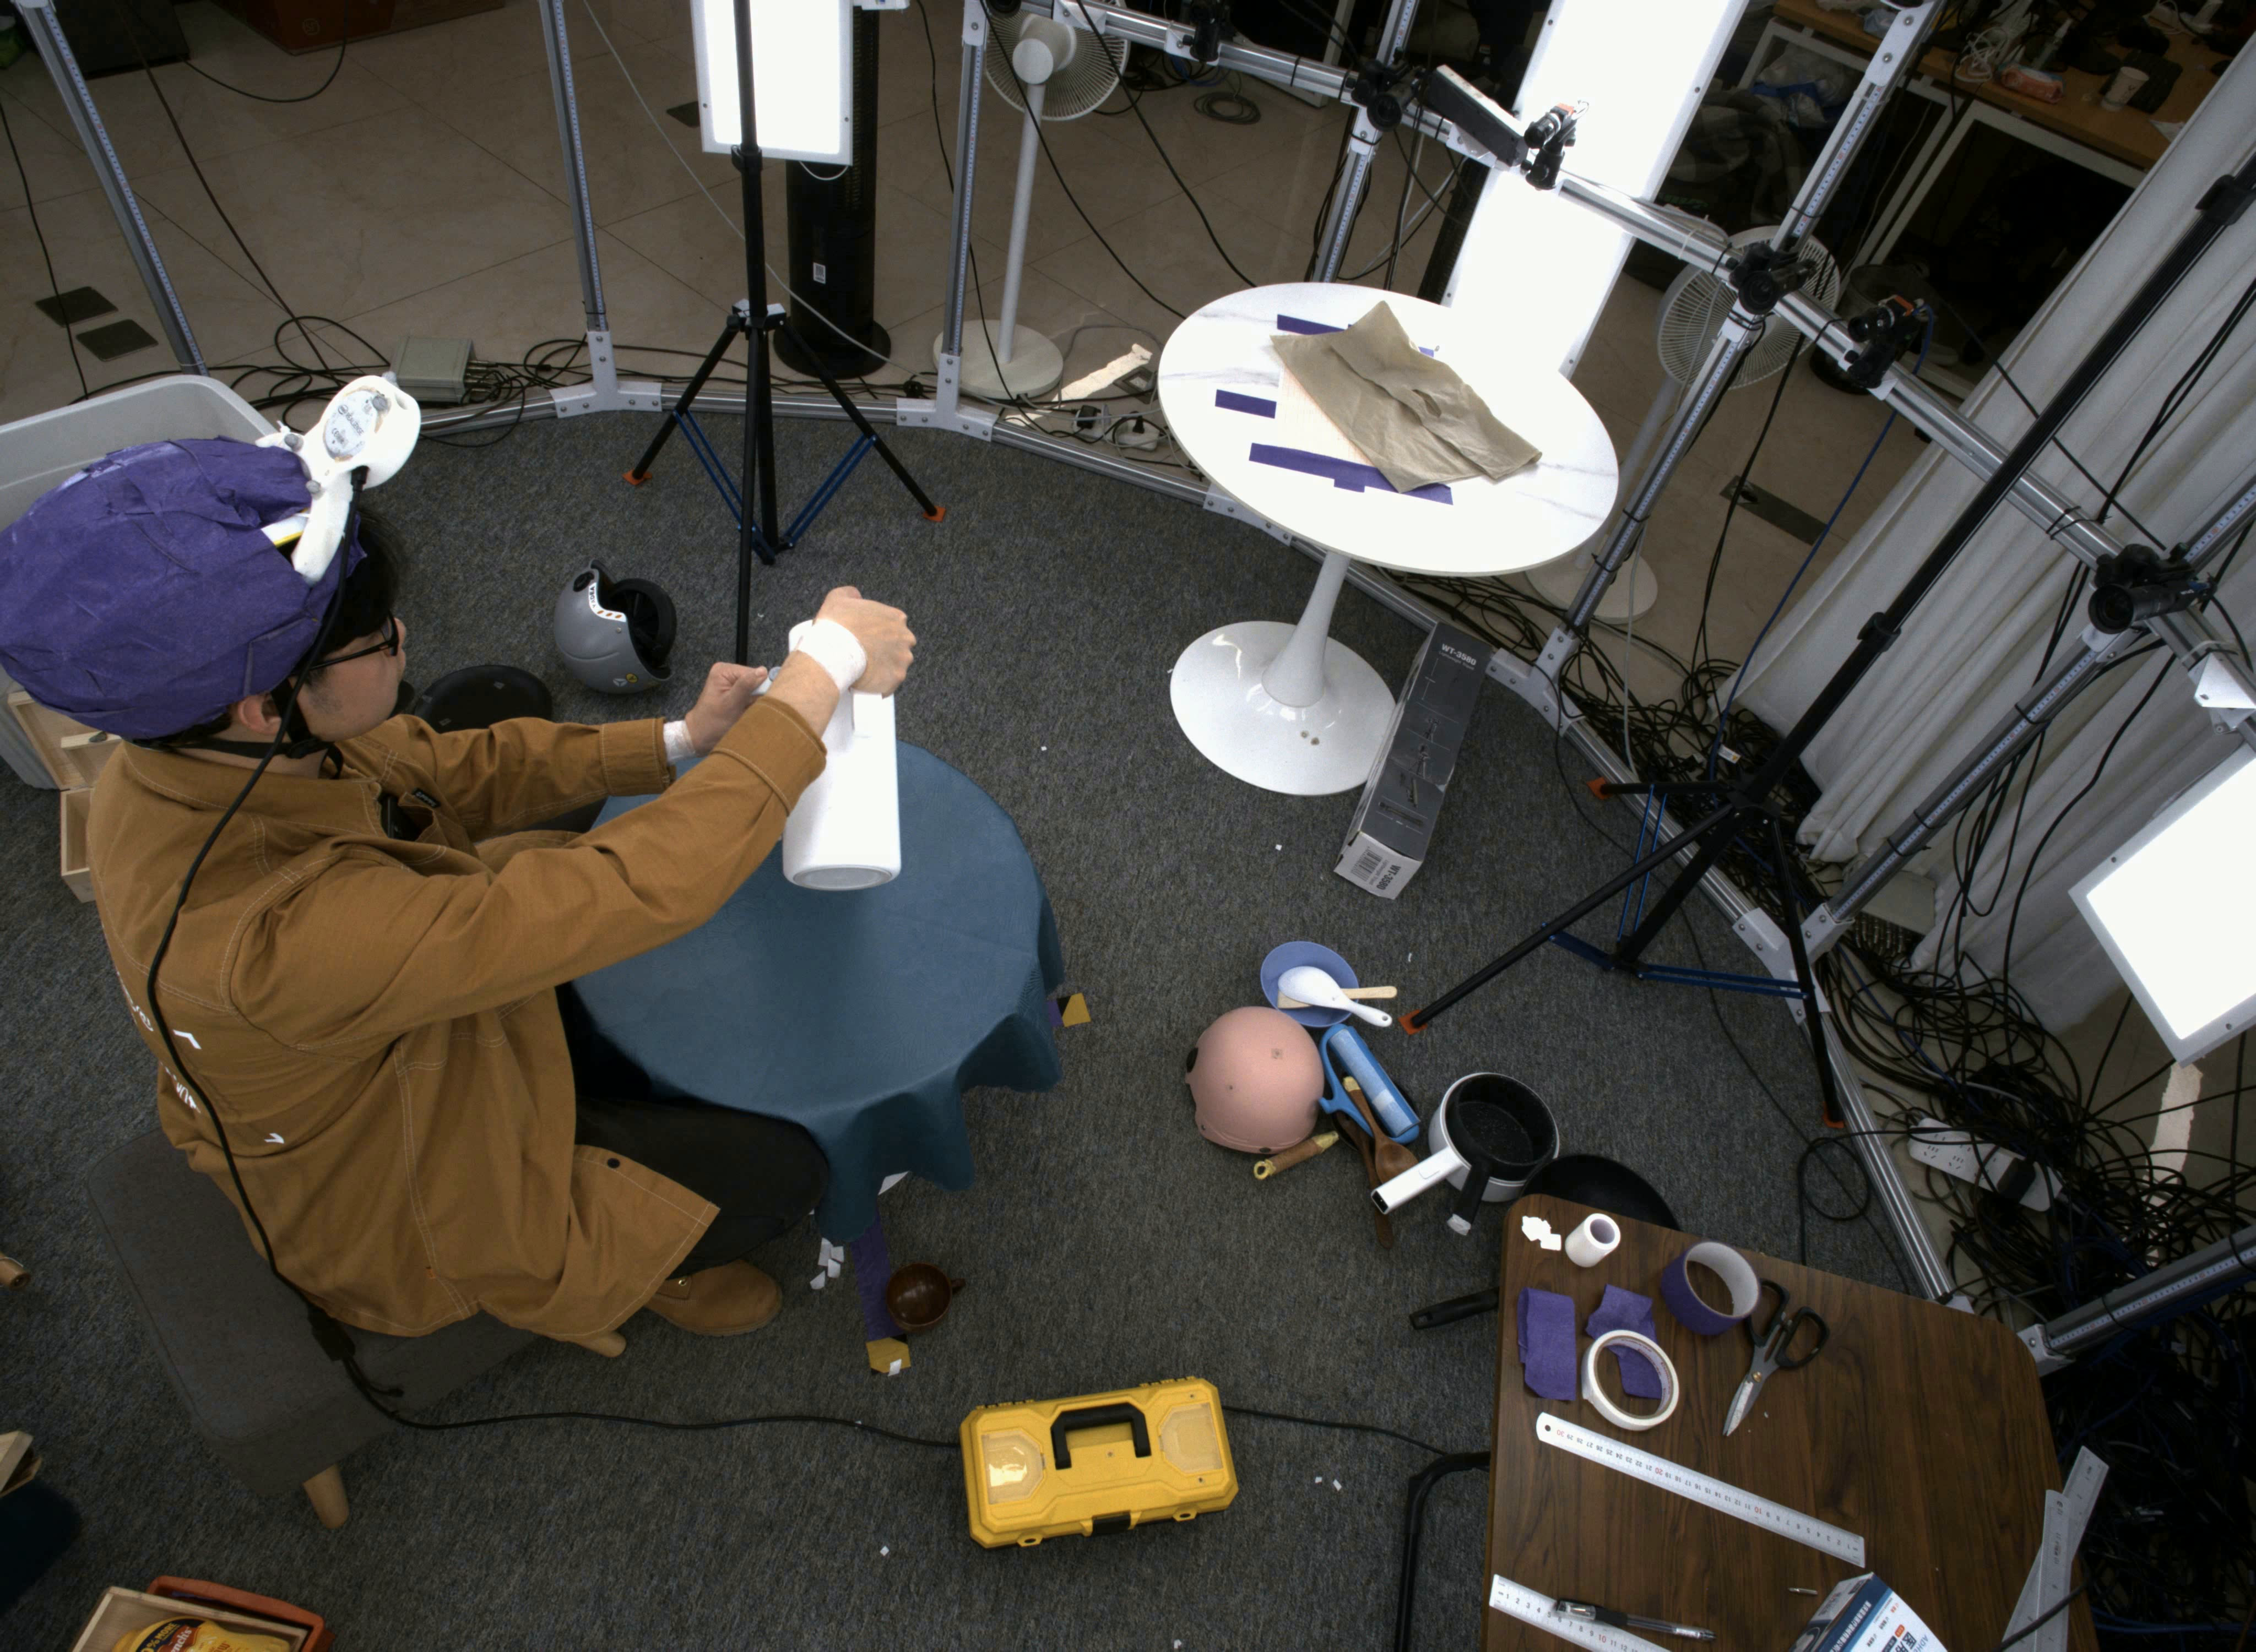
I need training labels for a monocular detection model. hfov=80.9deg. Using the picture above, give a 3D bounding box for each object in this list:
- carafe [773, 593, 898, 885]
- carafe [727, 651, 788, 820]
[{"bbox_3d":[-0.290,-0.088,1.304,0.126,0.171,0.268,4,73,-28],"label":"carafe"},{"bbox_3d":[-0.398,-0.117,1.559,0.168,0.251,0.131,13,60,-9],"label":"carafe"}]
